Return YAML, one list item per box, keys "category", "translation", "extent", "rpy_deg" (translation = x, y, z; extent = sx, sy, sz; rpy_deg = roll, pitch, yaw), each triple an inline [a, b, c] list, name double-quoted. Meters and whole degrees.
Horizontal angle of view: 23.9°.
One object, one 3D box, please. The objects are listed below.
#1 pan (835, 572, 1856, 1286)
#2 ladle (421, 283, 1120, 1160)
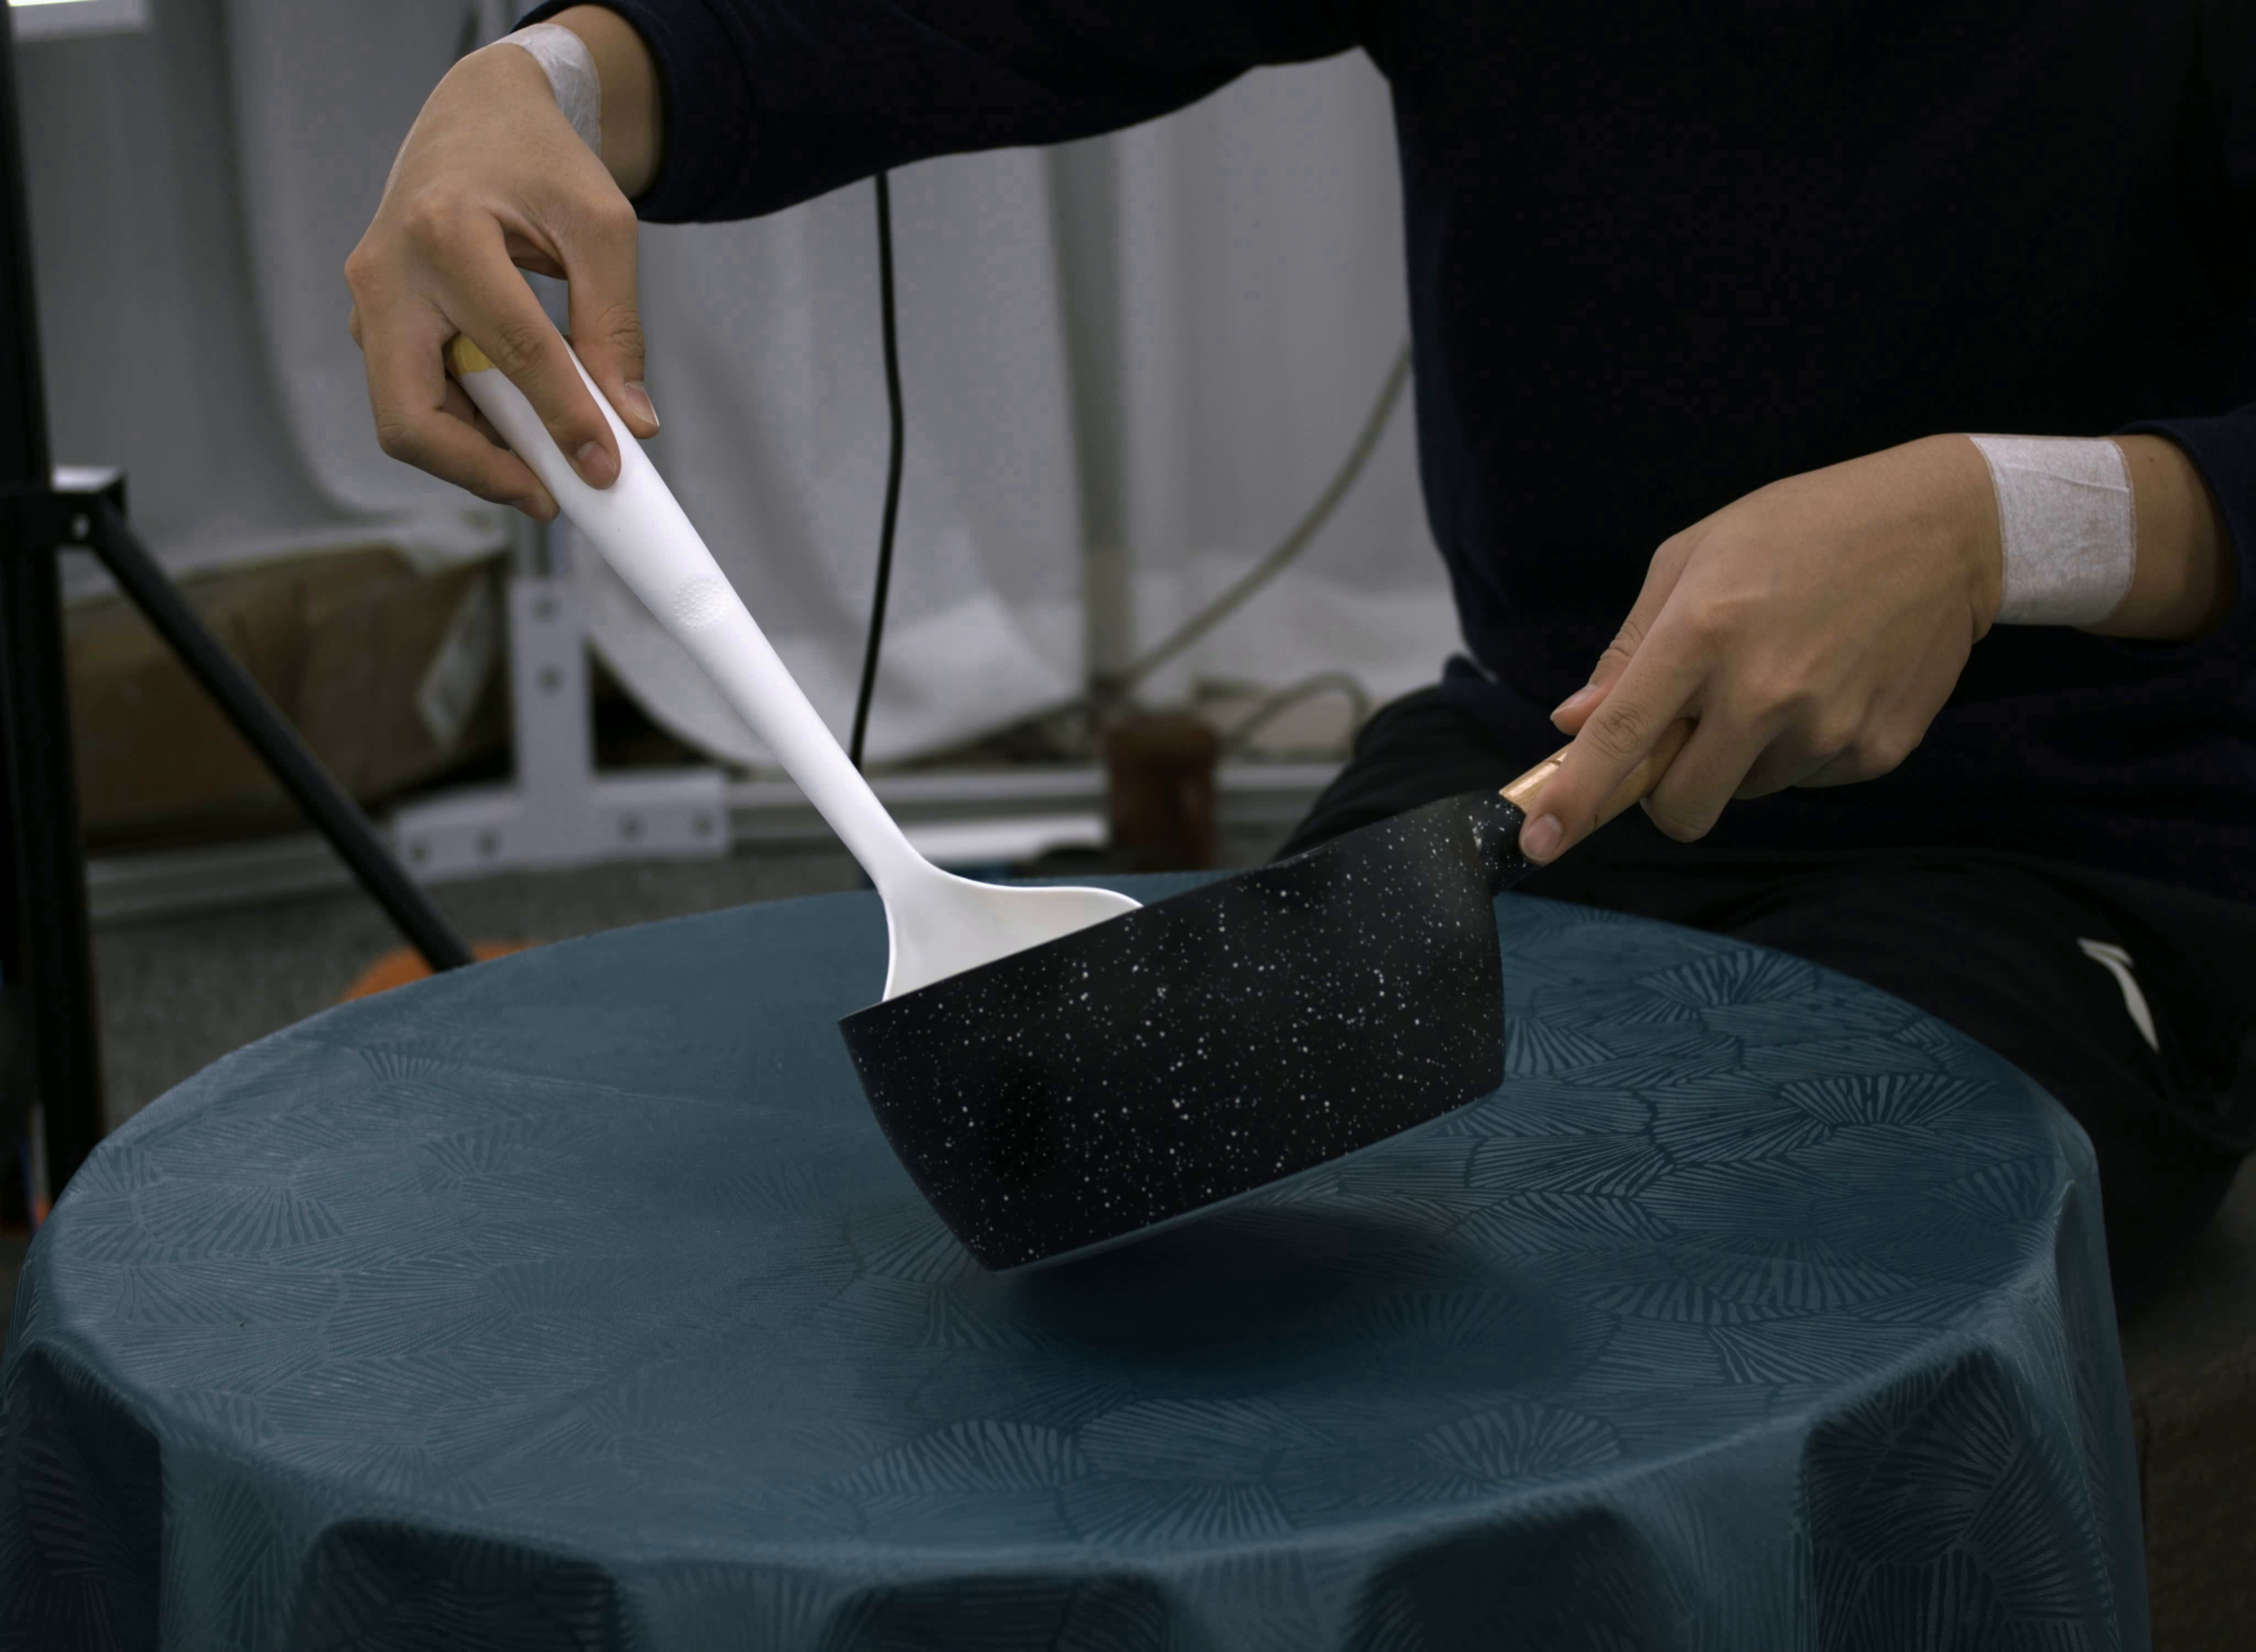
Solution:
- category: "pan"
  translation: [0.082, 0.028, 1.505]
  extent: [0.336, 0.109, 0.210]
  rpy_deg: [-20, -2, -26]
- category: "ladle"
  translation: [-0.105, -0.034, 1.483]
  extent: [0.090, 0.296, 0.069]
  rpy_deg: [-37, -11, -1]
